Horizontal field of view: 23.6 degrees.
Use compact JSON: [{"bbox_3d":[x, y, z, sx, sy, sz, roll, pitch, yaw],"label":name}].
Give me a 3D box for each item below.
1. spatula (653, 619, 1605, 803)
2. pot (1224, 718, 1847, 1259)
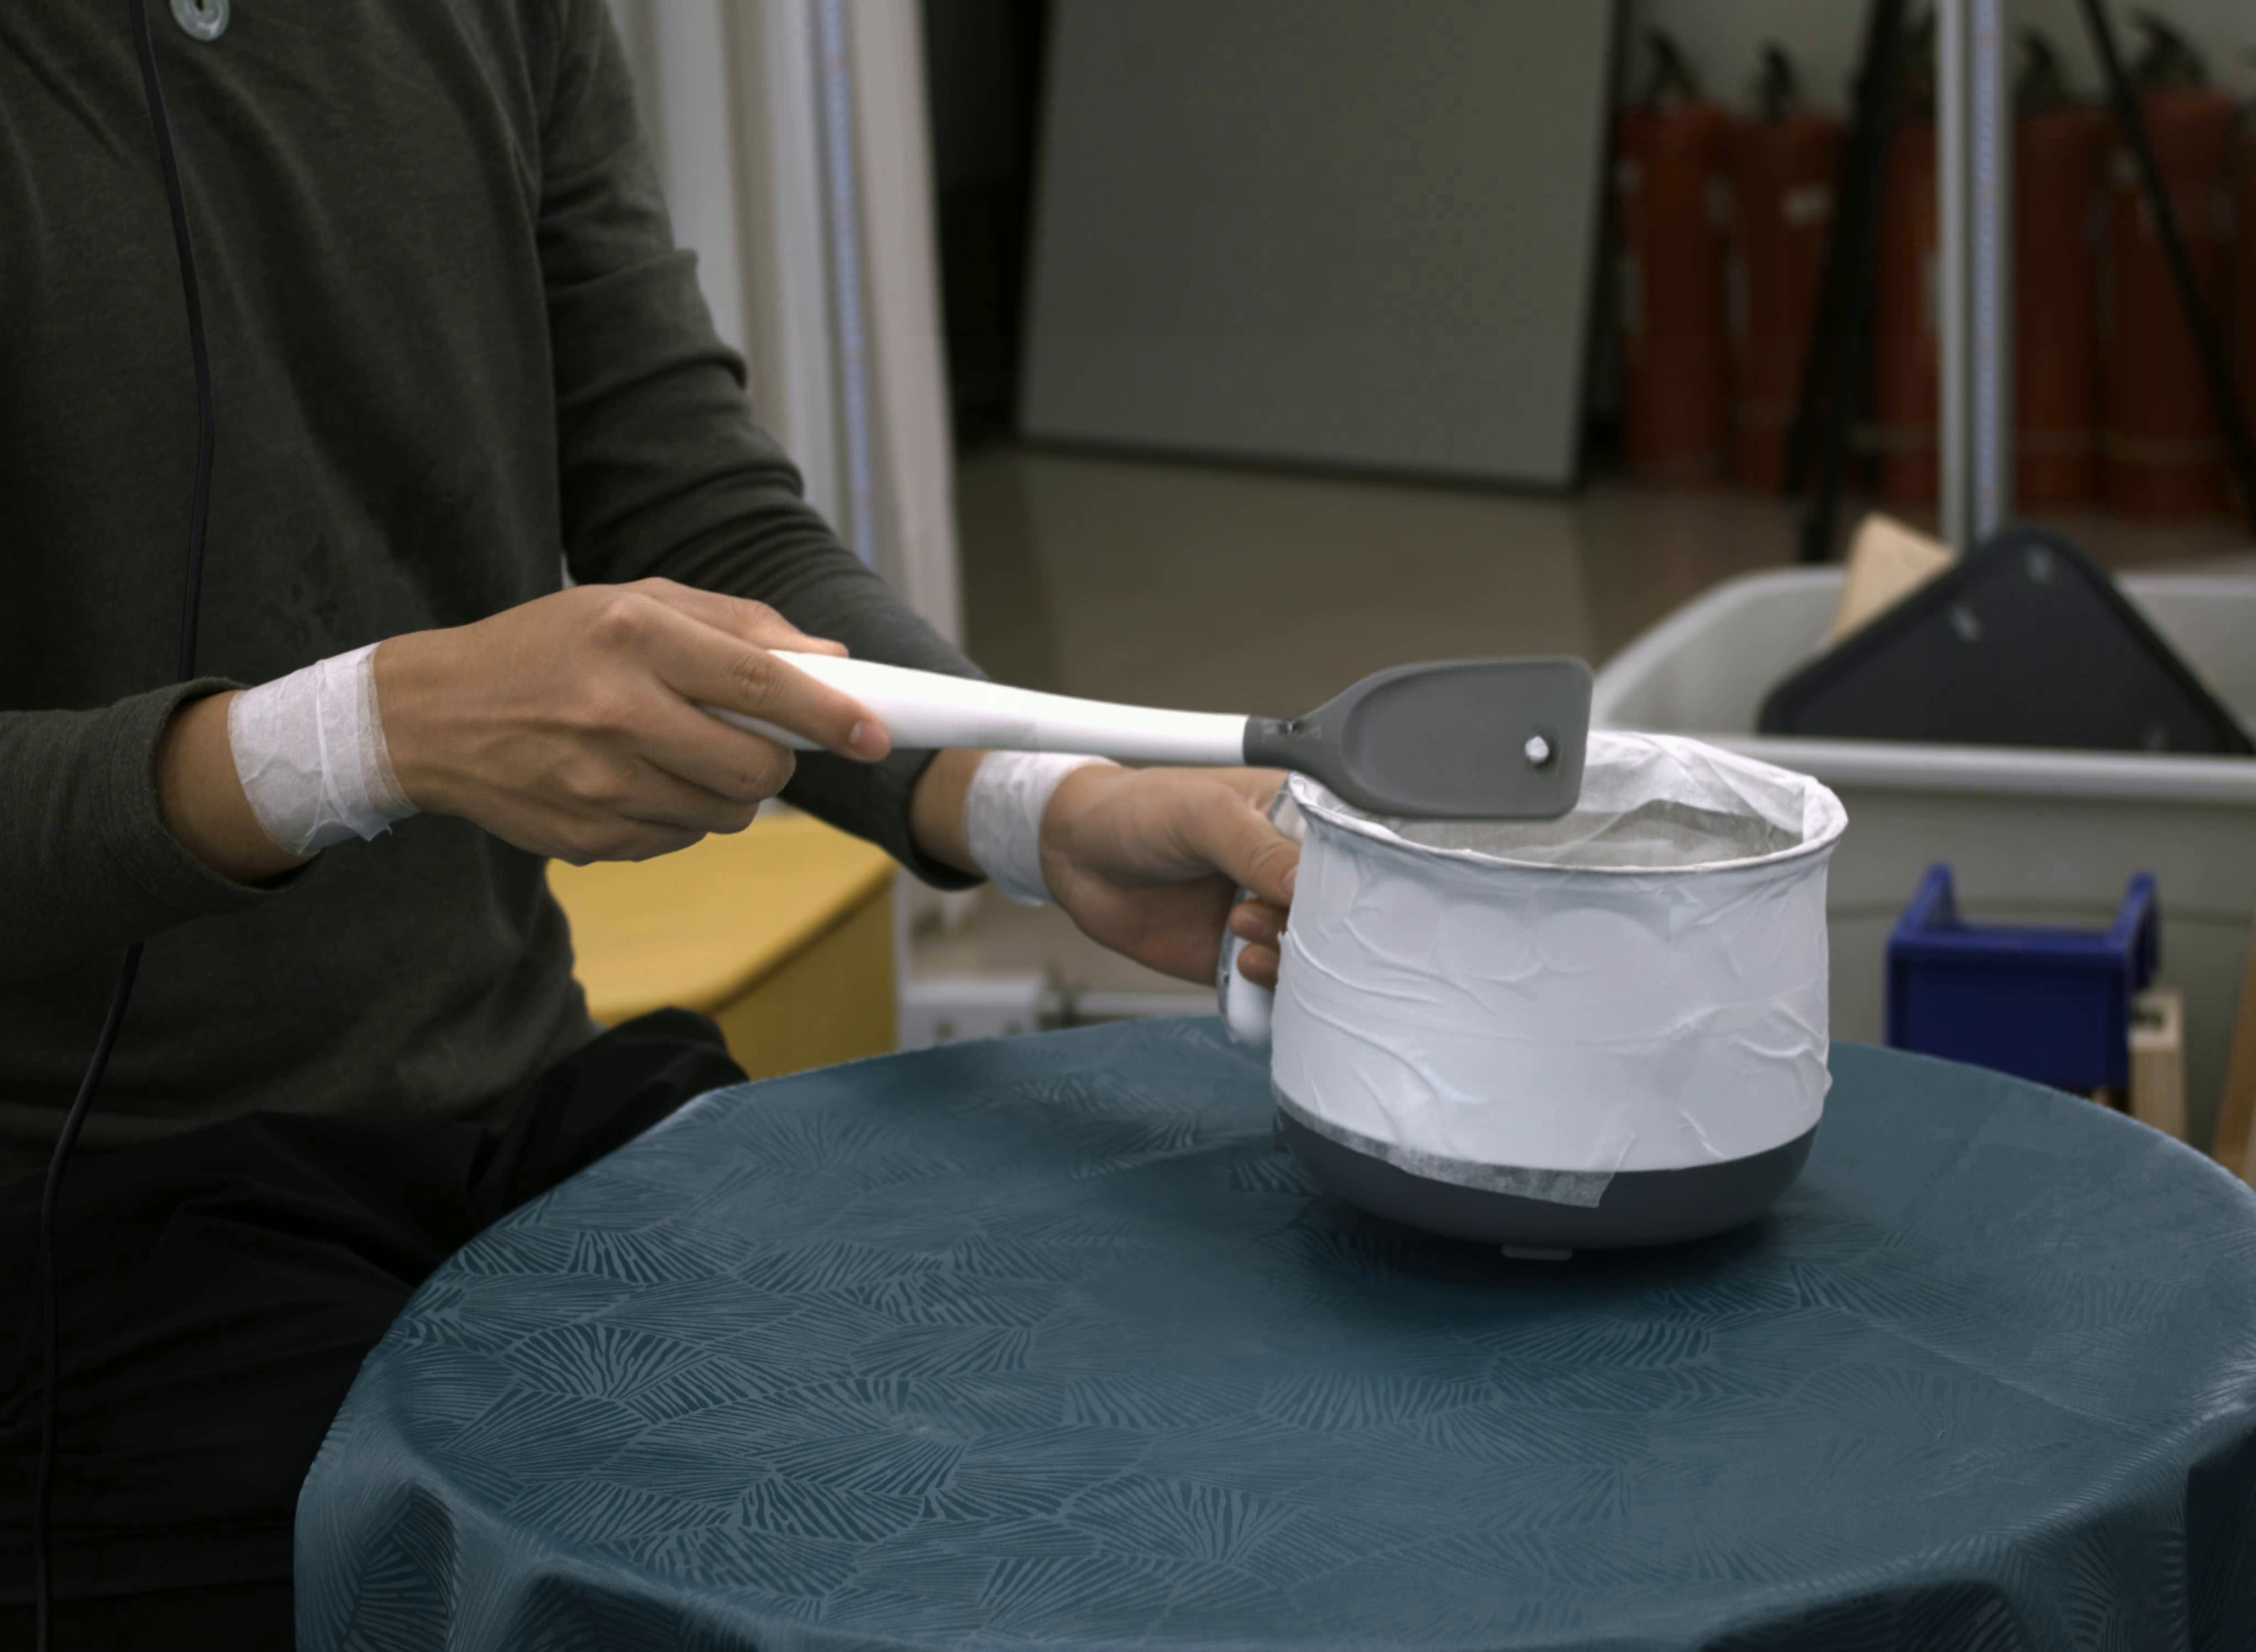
[{"bbox_3d":[0.000,-0.037,1.597,0.286,0.059,0.032,3,-25,14],"label":"spatula"},{"bbox_3d":[0.116,0.043,1.719,0.175,0.138,0.236,-9,18,-40],"label":"pot"}]
